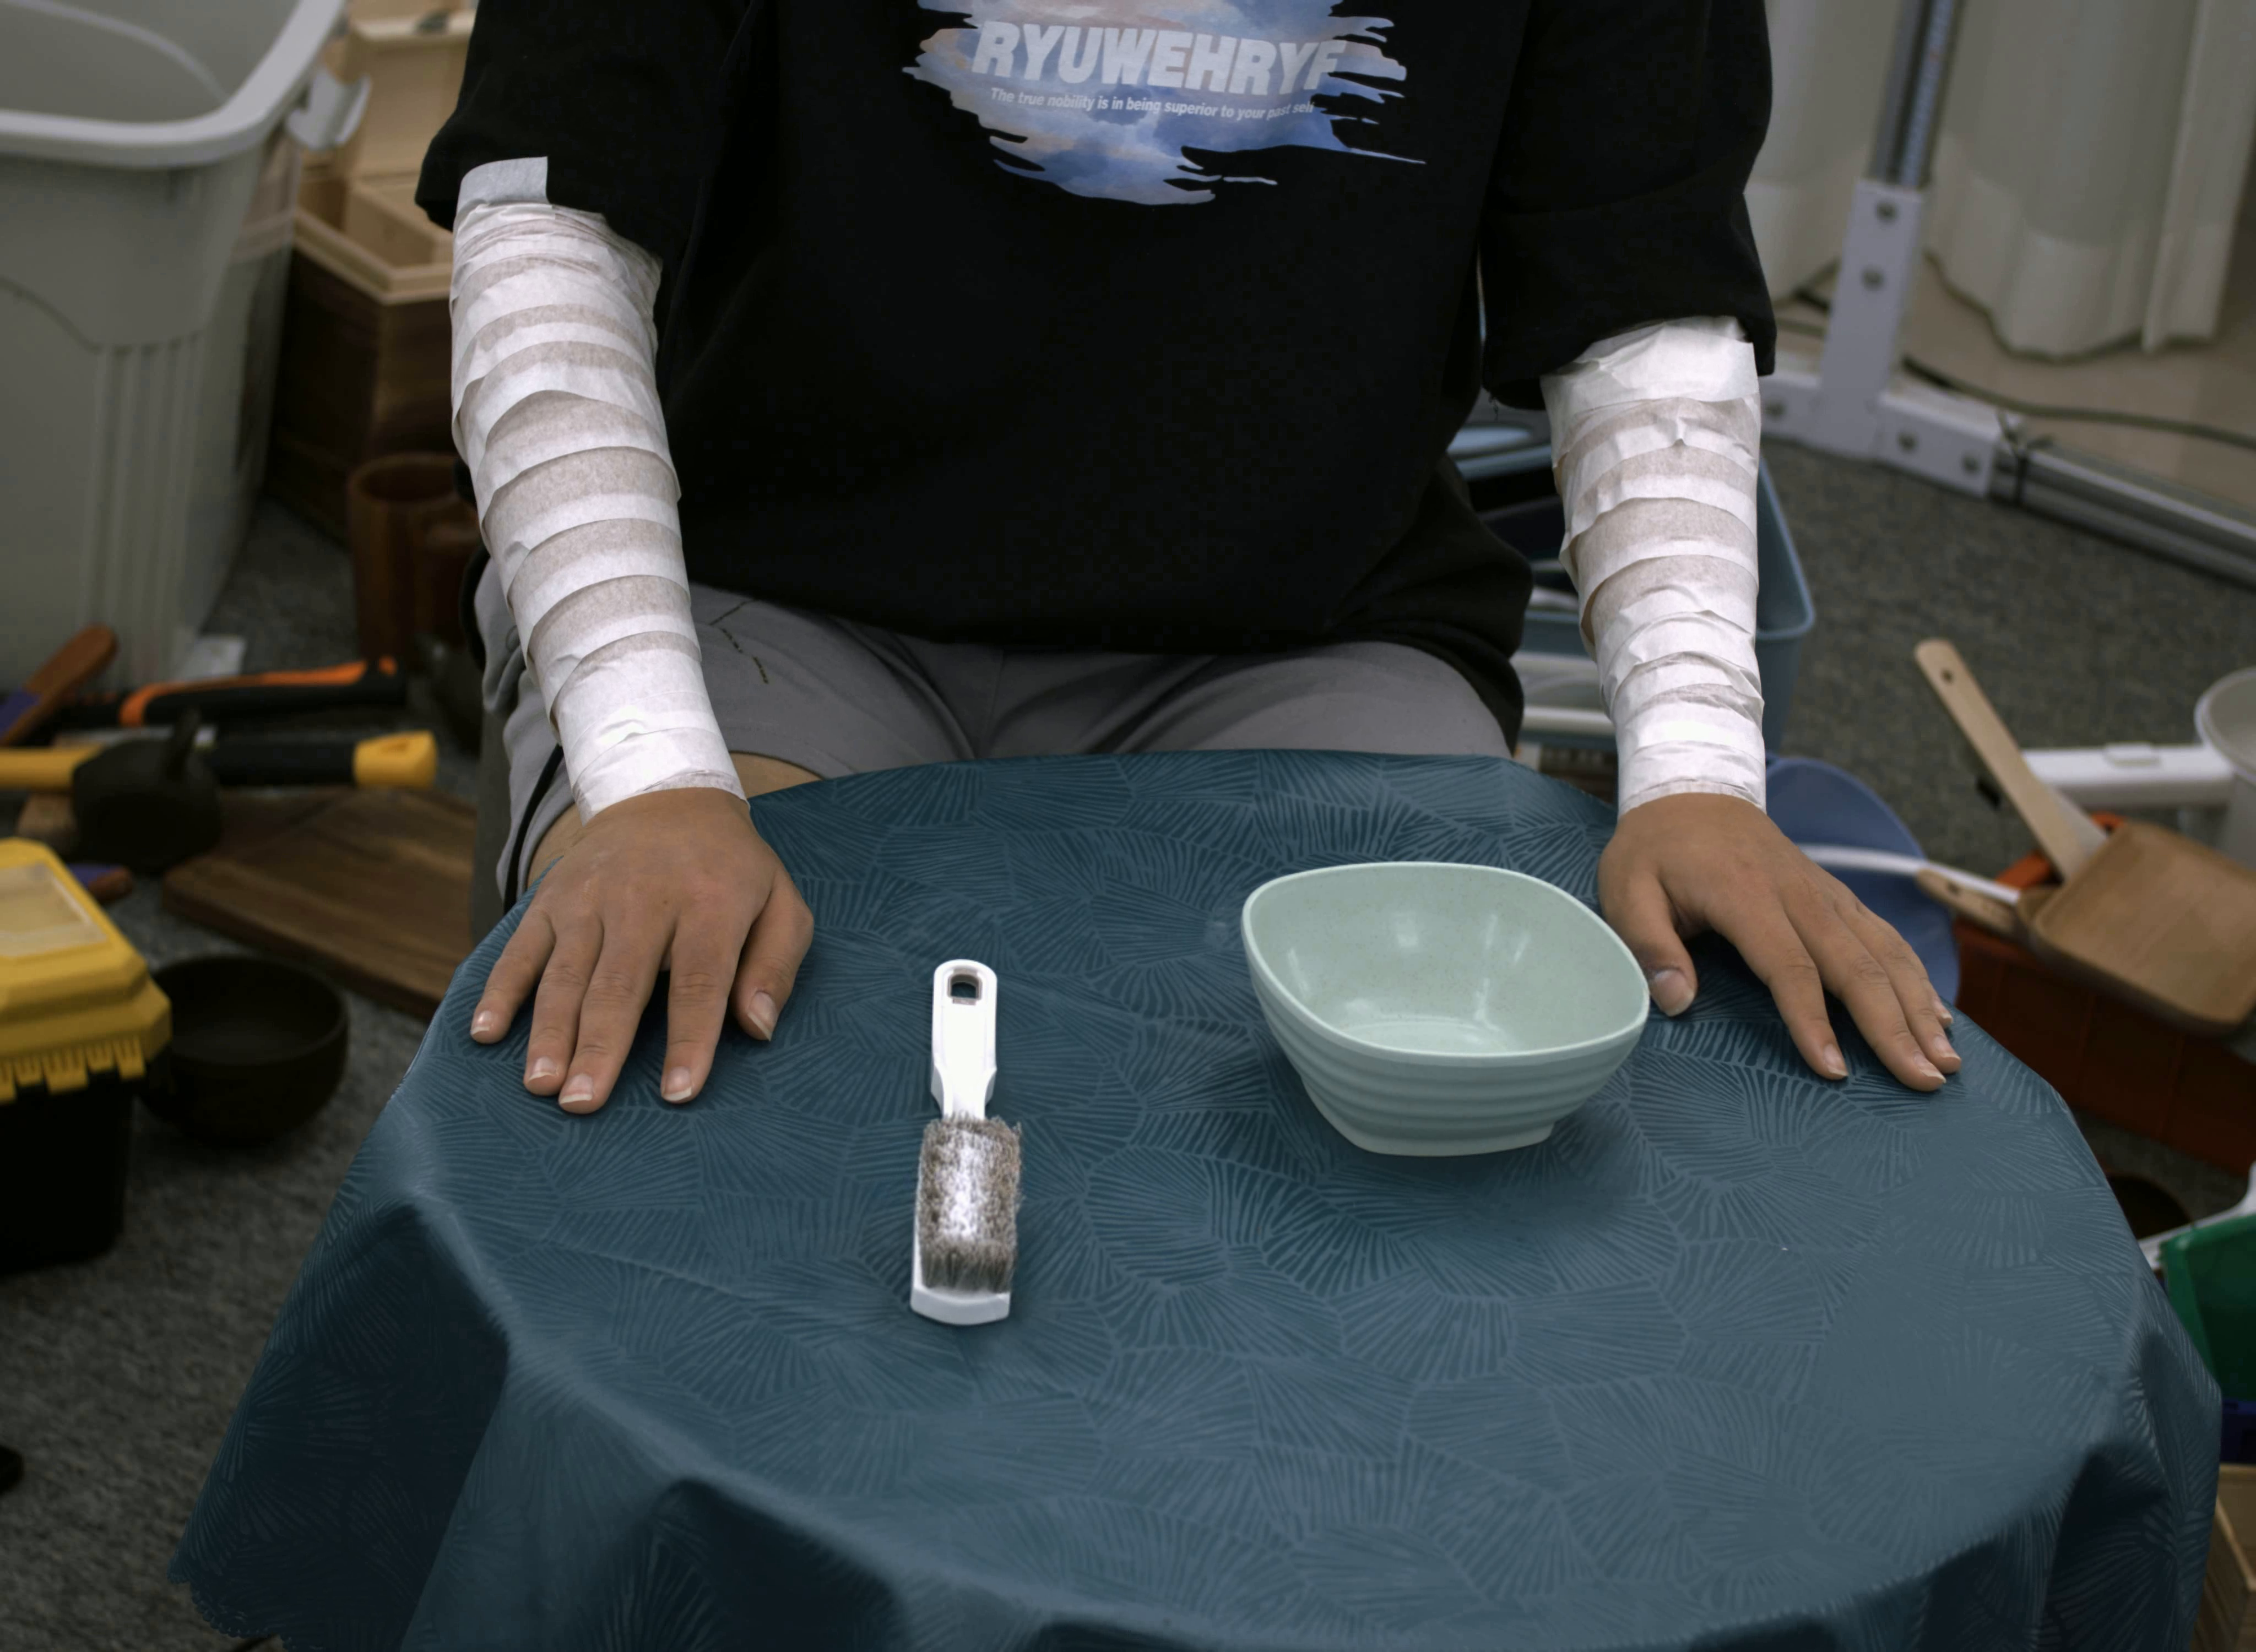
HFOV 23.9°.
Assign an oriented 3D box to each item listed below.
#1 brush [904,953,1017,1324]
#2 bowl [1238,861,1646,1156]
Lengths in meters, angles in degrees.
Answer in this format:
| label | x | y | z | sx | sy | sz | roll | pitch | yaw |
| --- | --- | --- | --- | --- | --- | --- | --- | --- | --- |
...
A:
| label | x | y | z | sx | sy | sz | roll | pitch | yaw |
| --- | --- | --- | --- | --- | --- | --- | --- | --- | --- |
| brush | -0.052 | 0.088 | 1.805 | 0.034 | 0.050 | 0.245 | 6 | 28 | -1 |
| bowl | 0.106 | 0.070 | 1.872 | 0.151 | 0.058 | 0.152 | 7 | 27 | -4 |
